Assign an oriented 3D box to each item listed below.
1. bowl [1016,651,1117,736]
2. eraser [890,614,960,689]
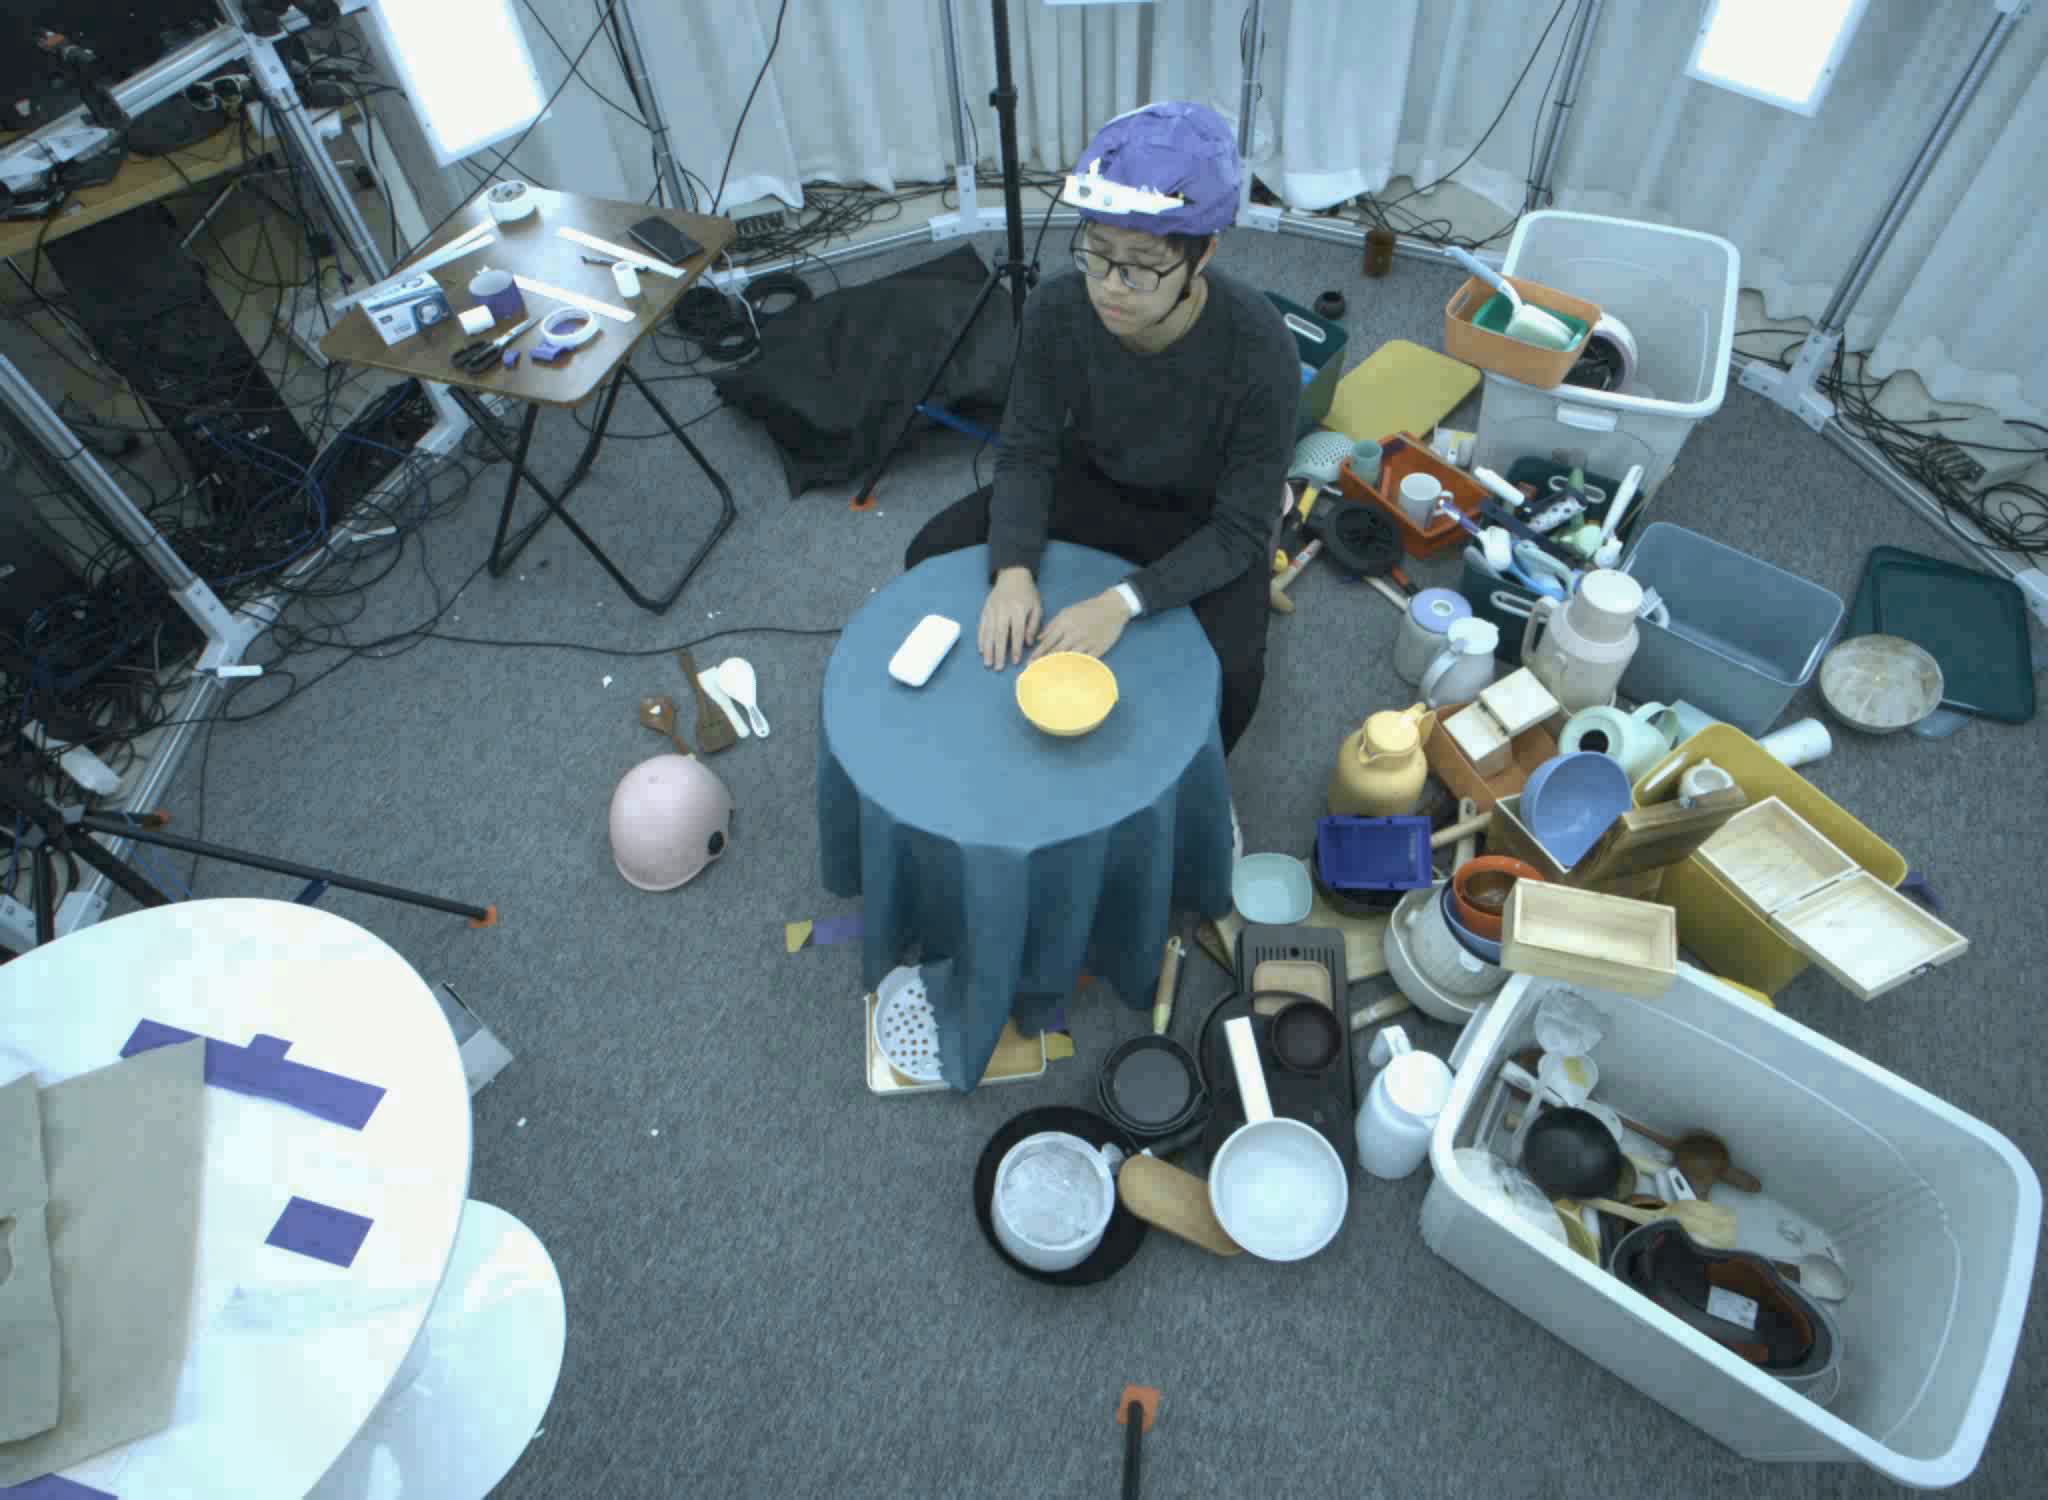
[{"bbox_3d":[0.062,-0.071,1.800,0.145,0.061,0.144,0,55,1],"label":"bowl"},{"bbox_3d":[-0.150,-0.153,1.882,0.062,0.035,0.131,24,60,17],"label":"eraser"}]
